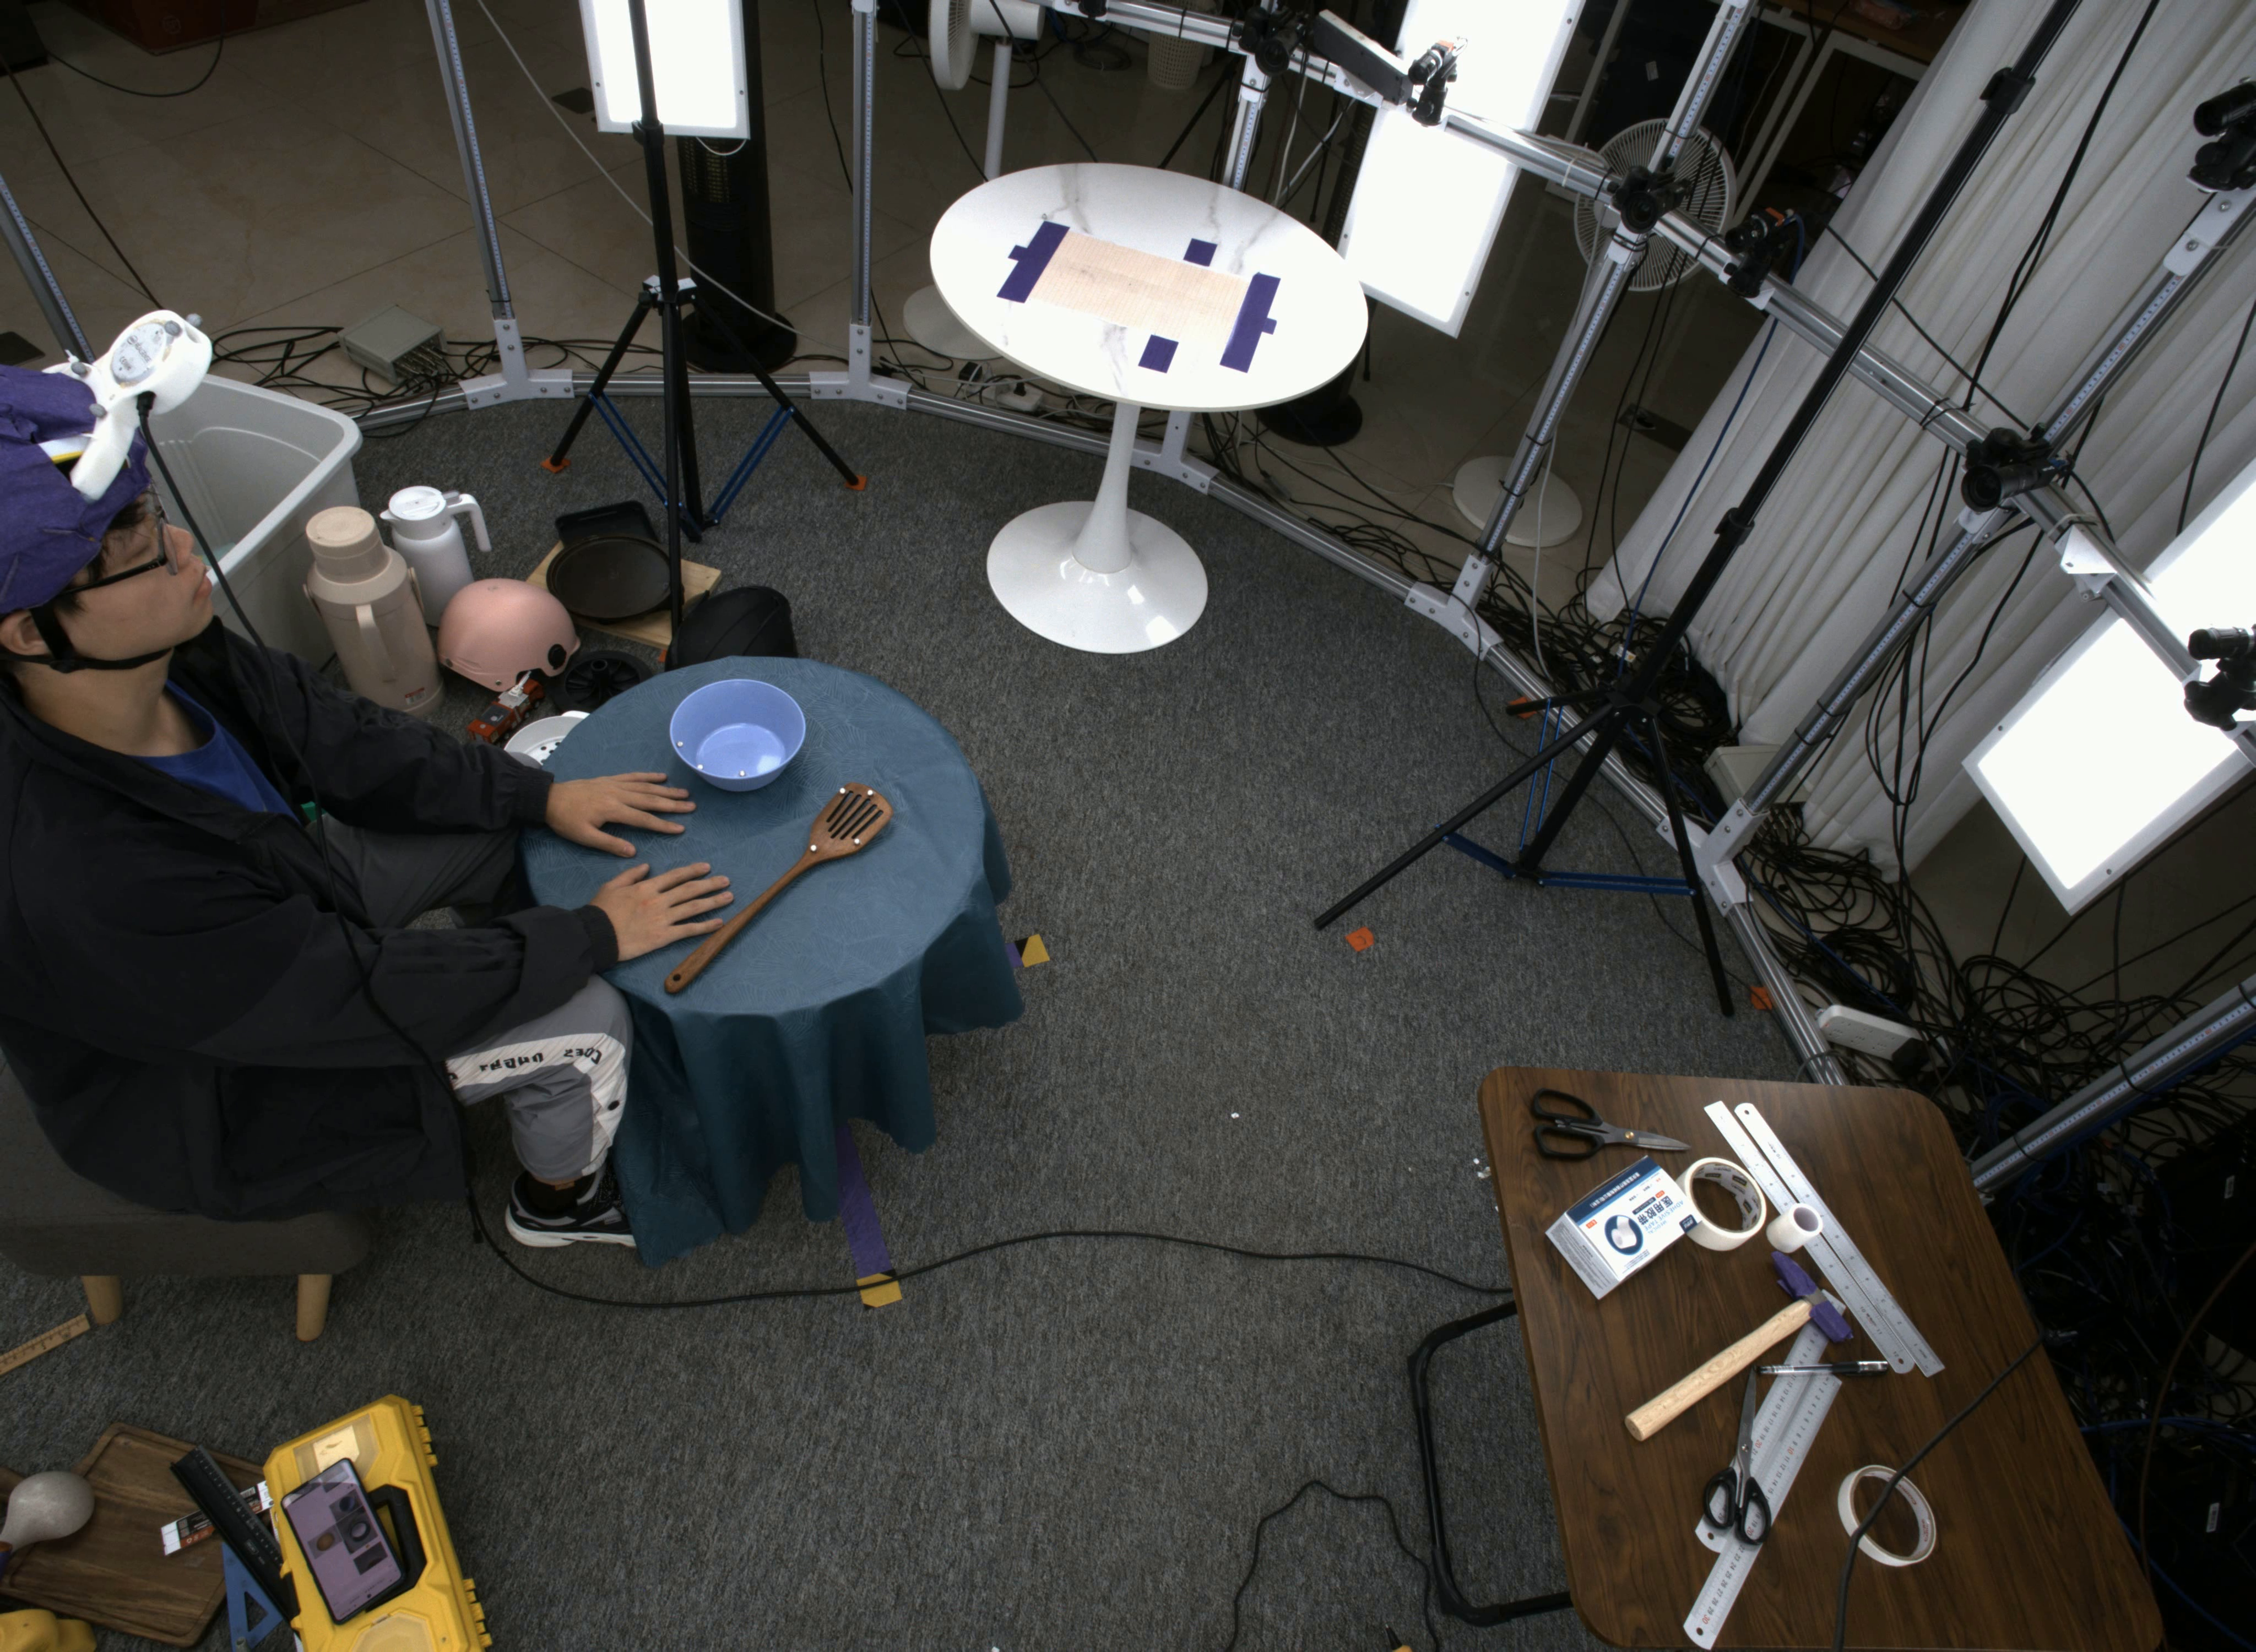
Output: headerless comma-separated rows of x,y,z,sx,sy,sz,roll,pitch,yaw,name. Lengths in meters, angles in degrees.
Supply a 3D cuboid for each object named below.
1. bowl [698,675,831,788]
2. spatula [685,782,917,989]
-0.492,-0.118,1.759,0.175,0.072,0.173,7,53,-7,bowl
-0.421,0.075,1.666,0.084,0.024,0.386,35,55,13,spatula
